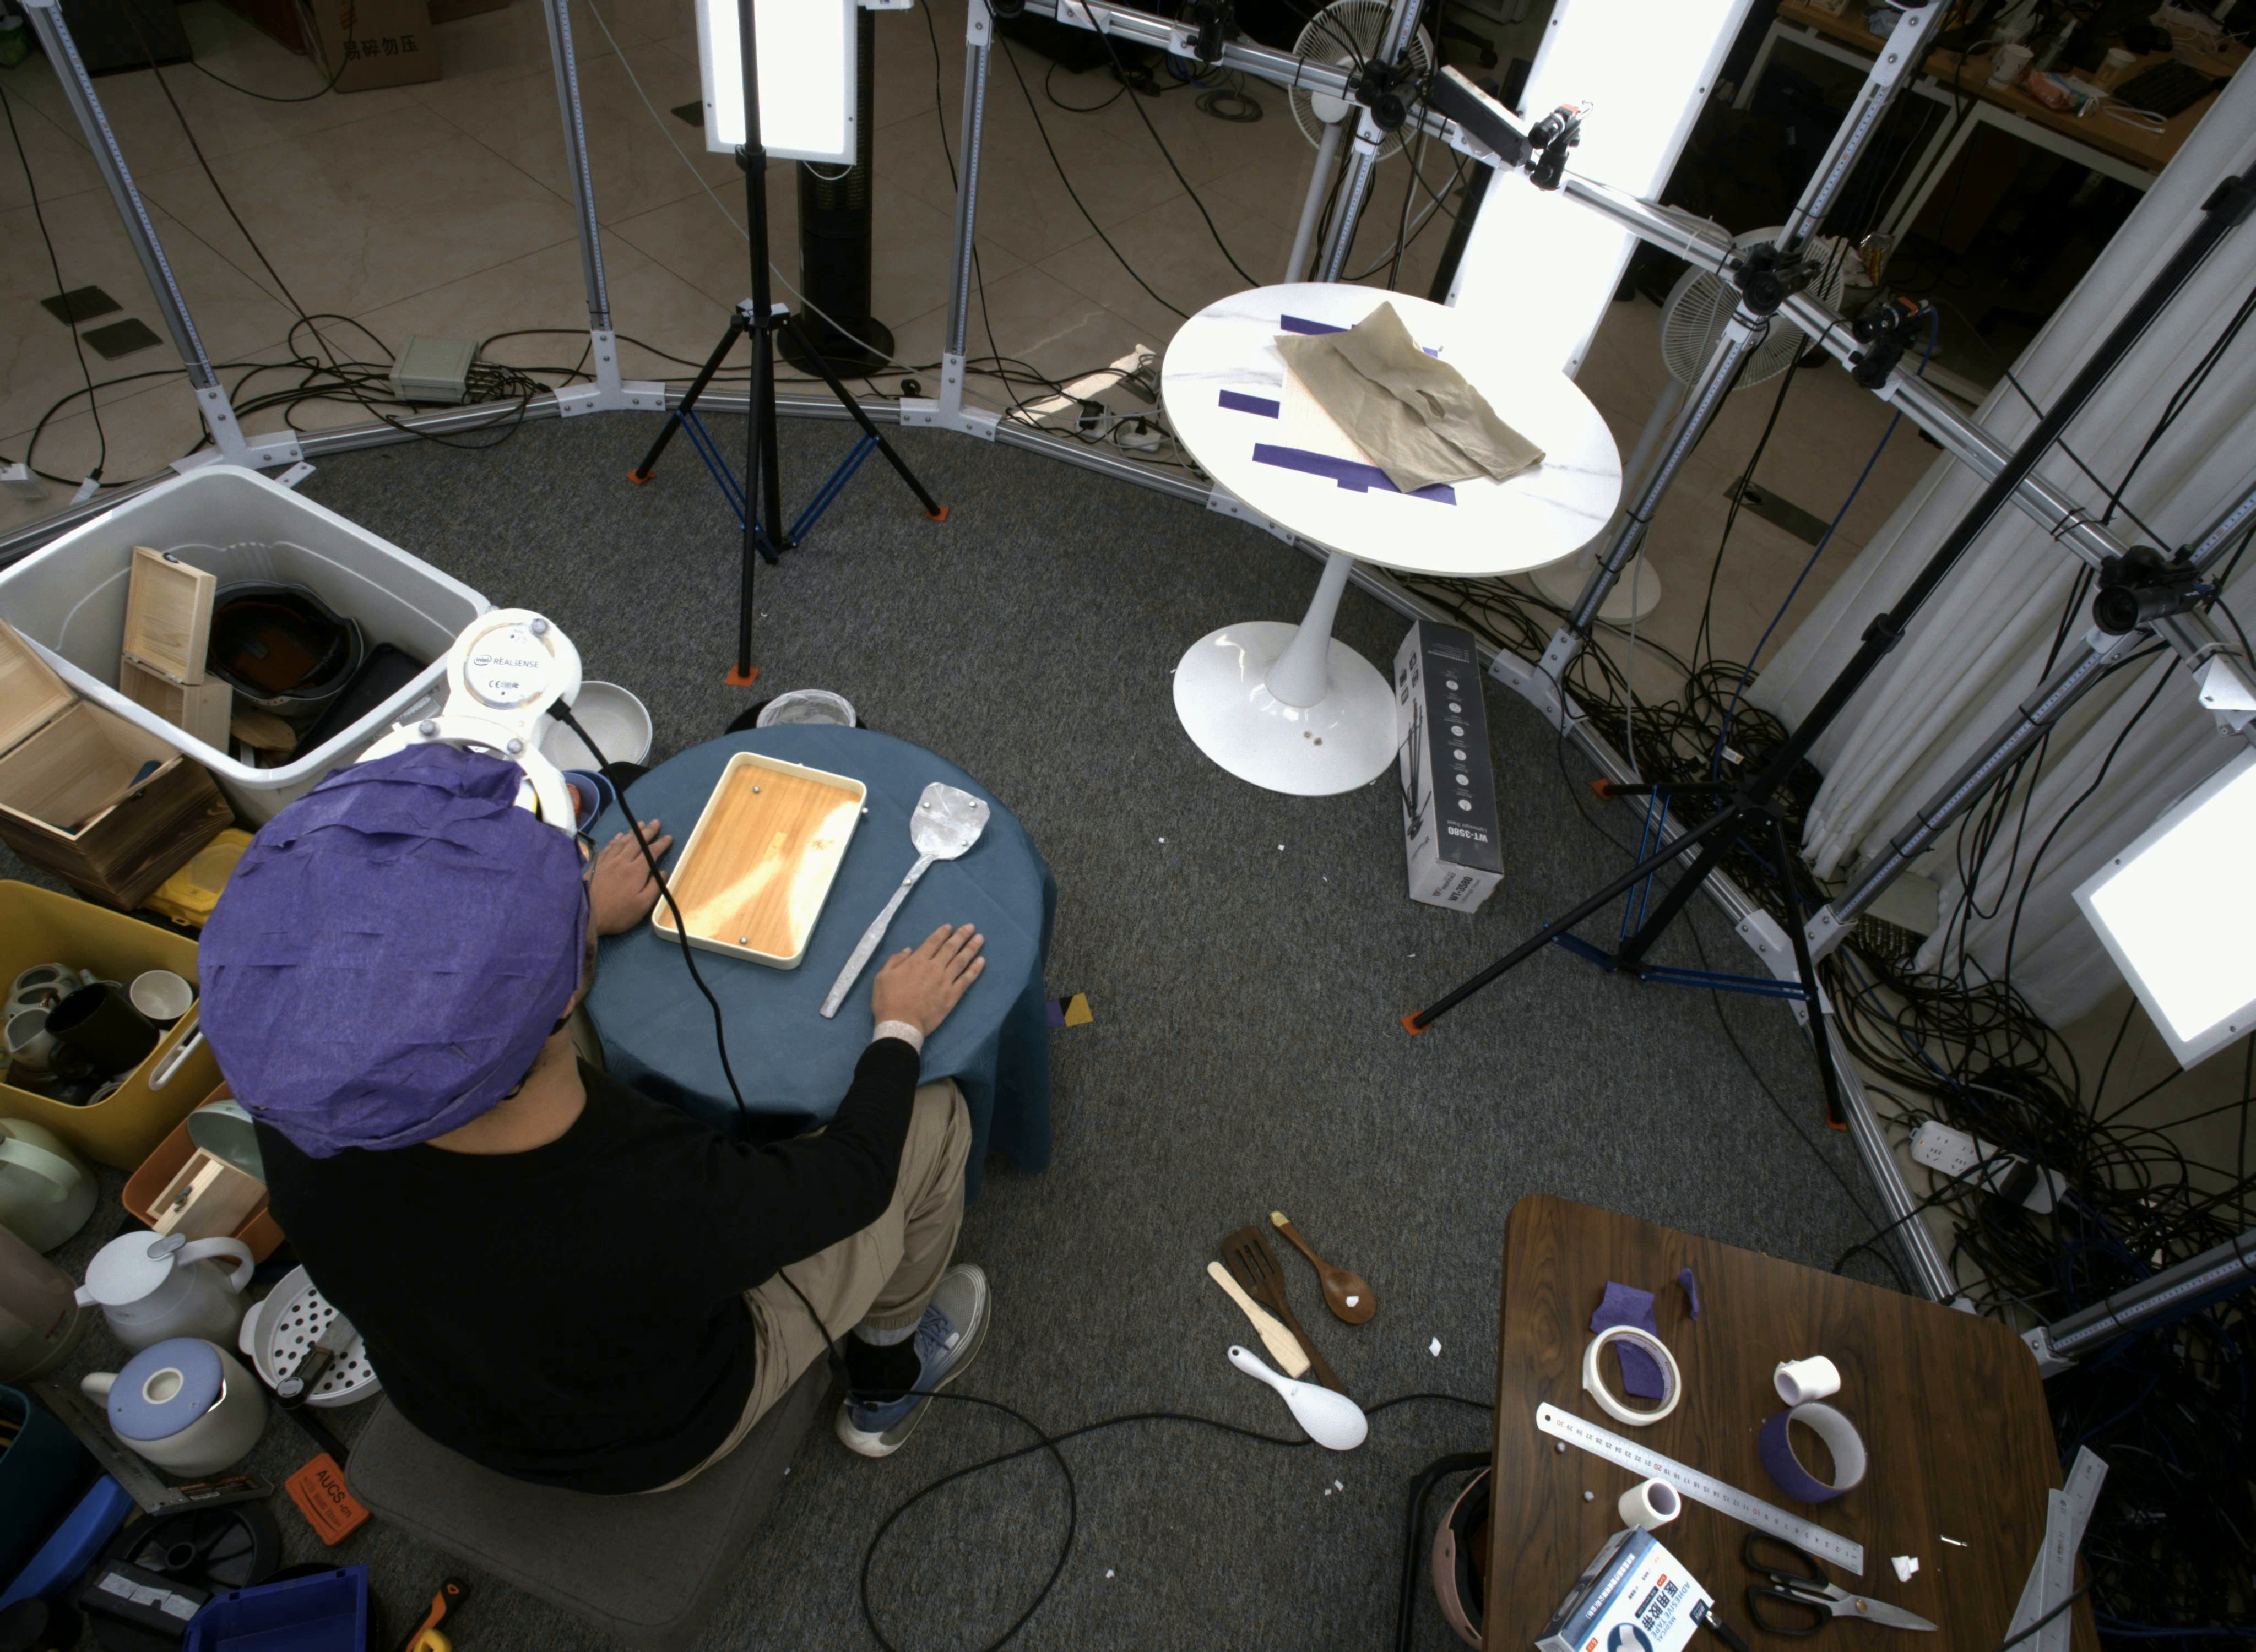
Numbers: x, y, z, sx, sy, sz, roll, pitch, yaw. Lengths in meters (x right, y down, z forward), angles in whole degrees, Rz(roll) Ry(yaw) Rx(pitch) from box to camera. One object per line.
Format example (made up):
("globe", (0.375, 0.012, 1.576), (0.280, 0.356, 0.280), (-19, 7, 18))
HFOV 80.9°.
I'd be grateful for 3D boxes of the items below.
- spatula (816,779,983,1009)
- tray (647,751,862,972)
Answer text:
("spatula", (-0.300, 0.084, 1.664), (0.097, 0.045, 0.362), (24, 51, 4))
("tray", (-0.473, 0.038, 1.660), (0.190, 0.028, 0.296), (15, 52, -3))
